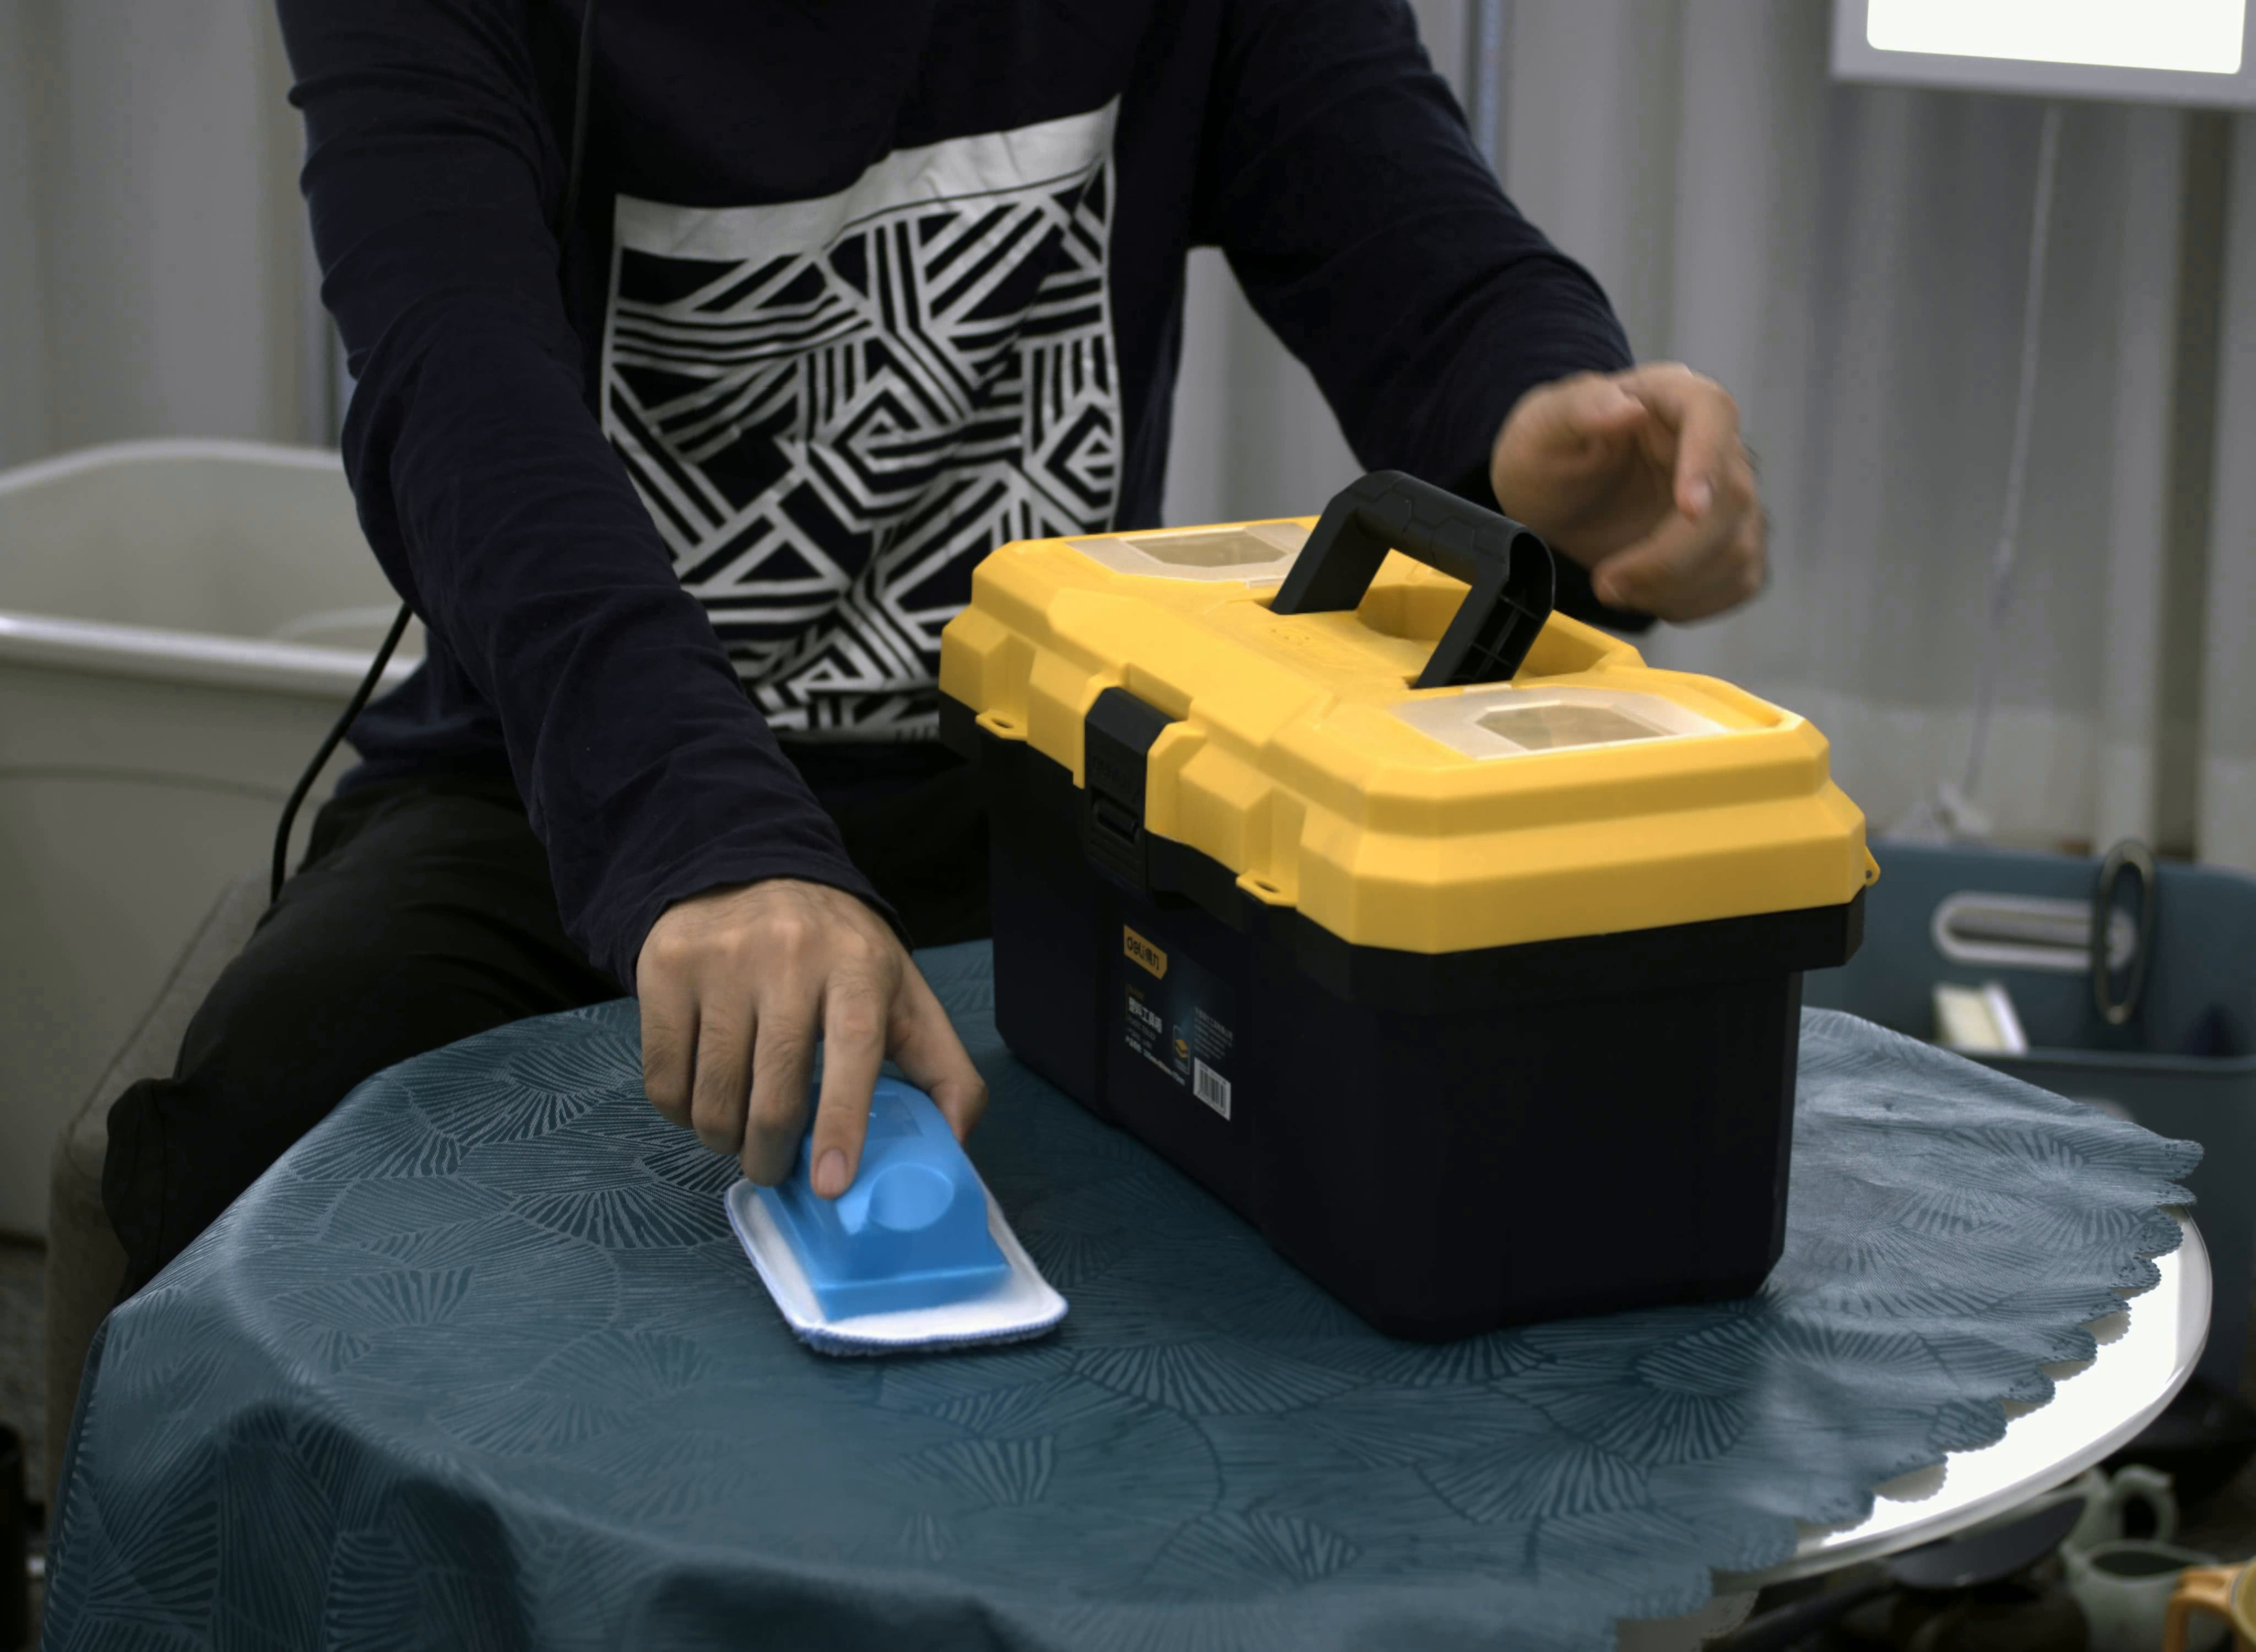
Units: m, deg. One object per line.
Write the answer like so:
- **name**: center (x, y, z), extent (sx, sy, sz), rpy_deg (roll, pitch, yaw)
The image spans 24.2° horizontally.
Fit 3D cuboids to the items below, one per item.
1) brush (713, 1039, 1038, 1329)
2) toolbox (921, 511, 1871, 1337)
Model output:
- **brush**: center (-0.073, 0.102, 1.545), extent (0.084, 0.056, 0.142), rpy_deg (0, 18, -12)
- **toolbox**: center (0.073, 0.021, 1.630), extent (0.182, 0.174, 0.347), rpy_deg (-6, 17, -23)
